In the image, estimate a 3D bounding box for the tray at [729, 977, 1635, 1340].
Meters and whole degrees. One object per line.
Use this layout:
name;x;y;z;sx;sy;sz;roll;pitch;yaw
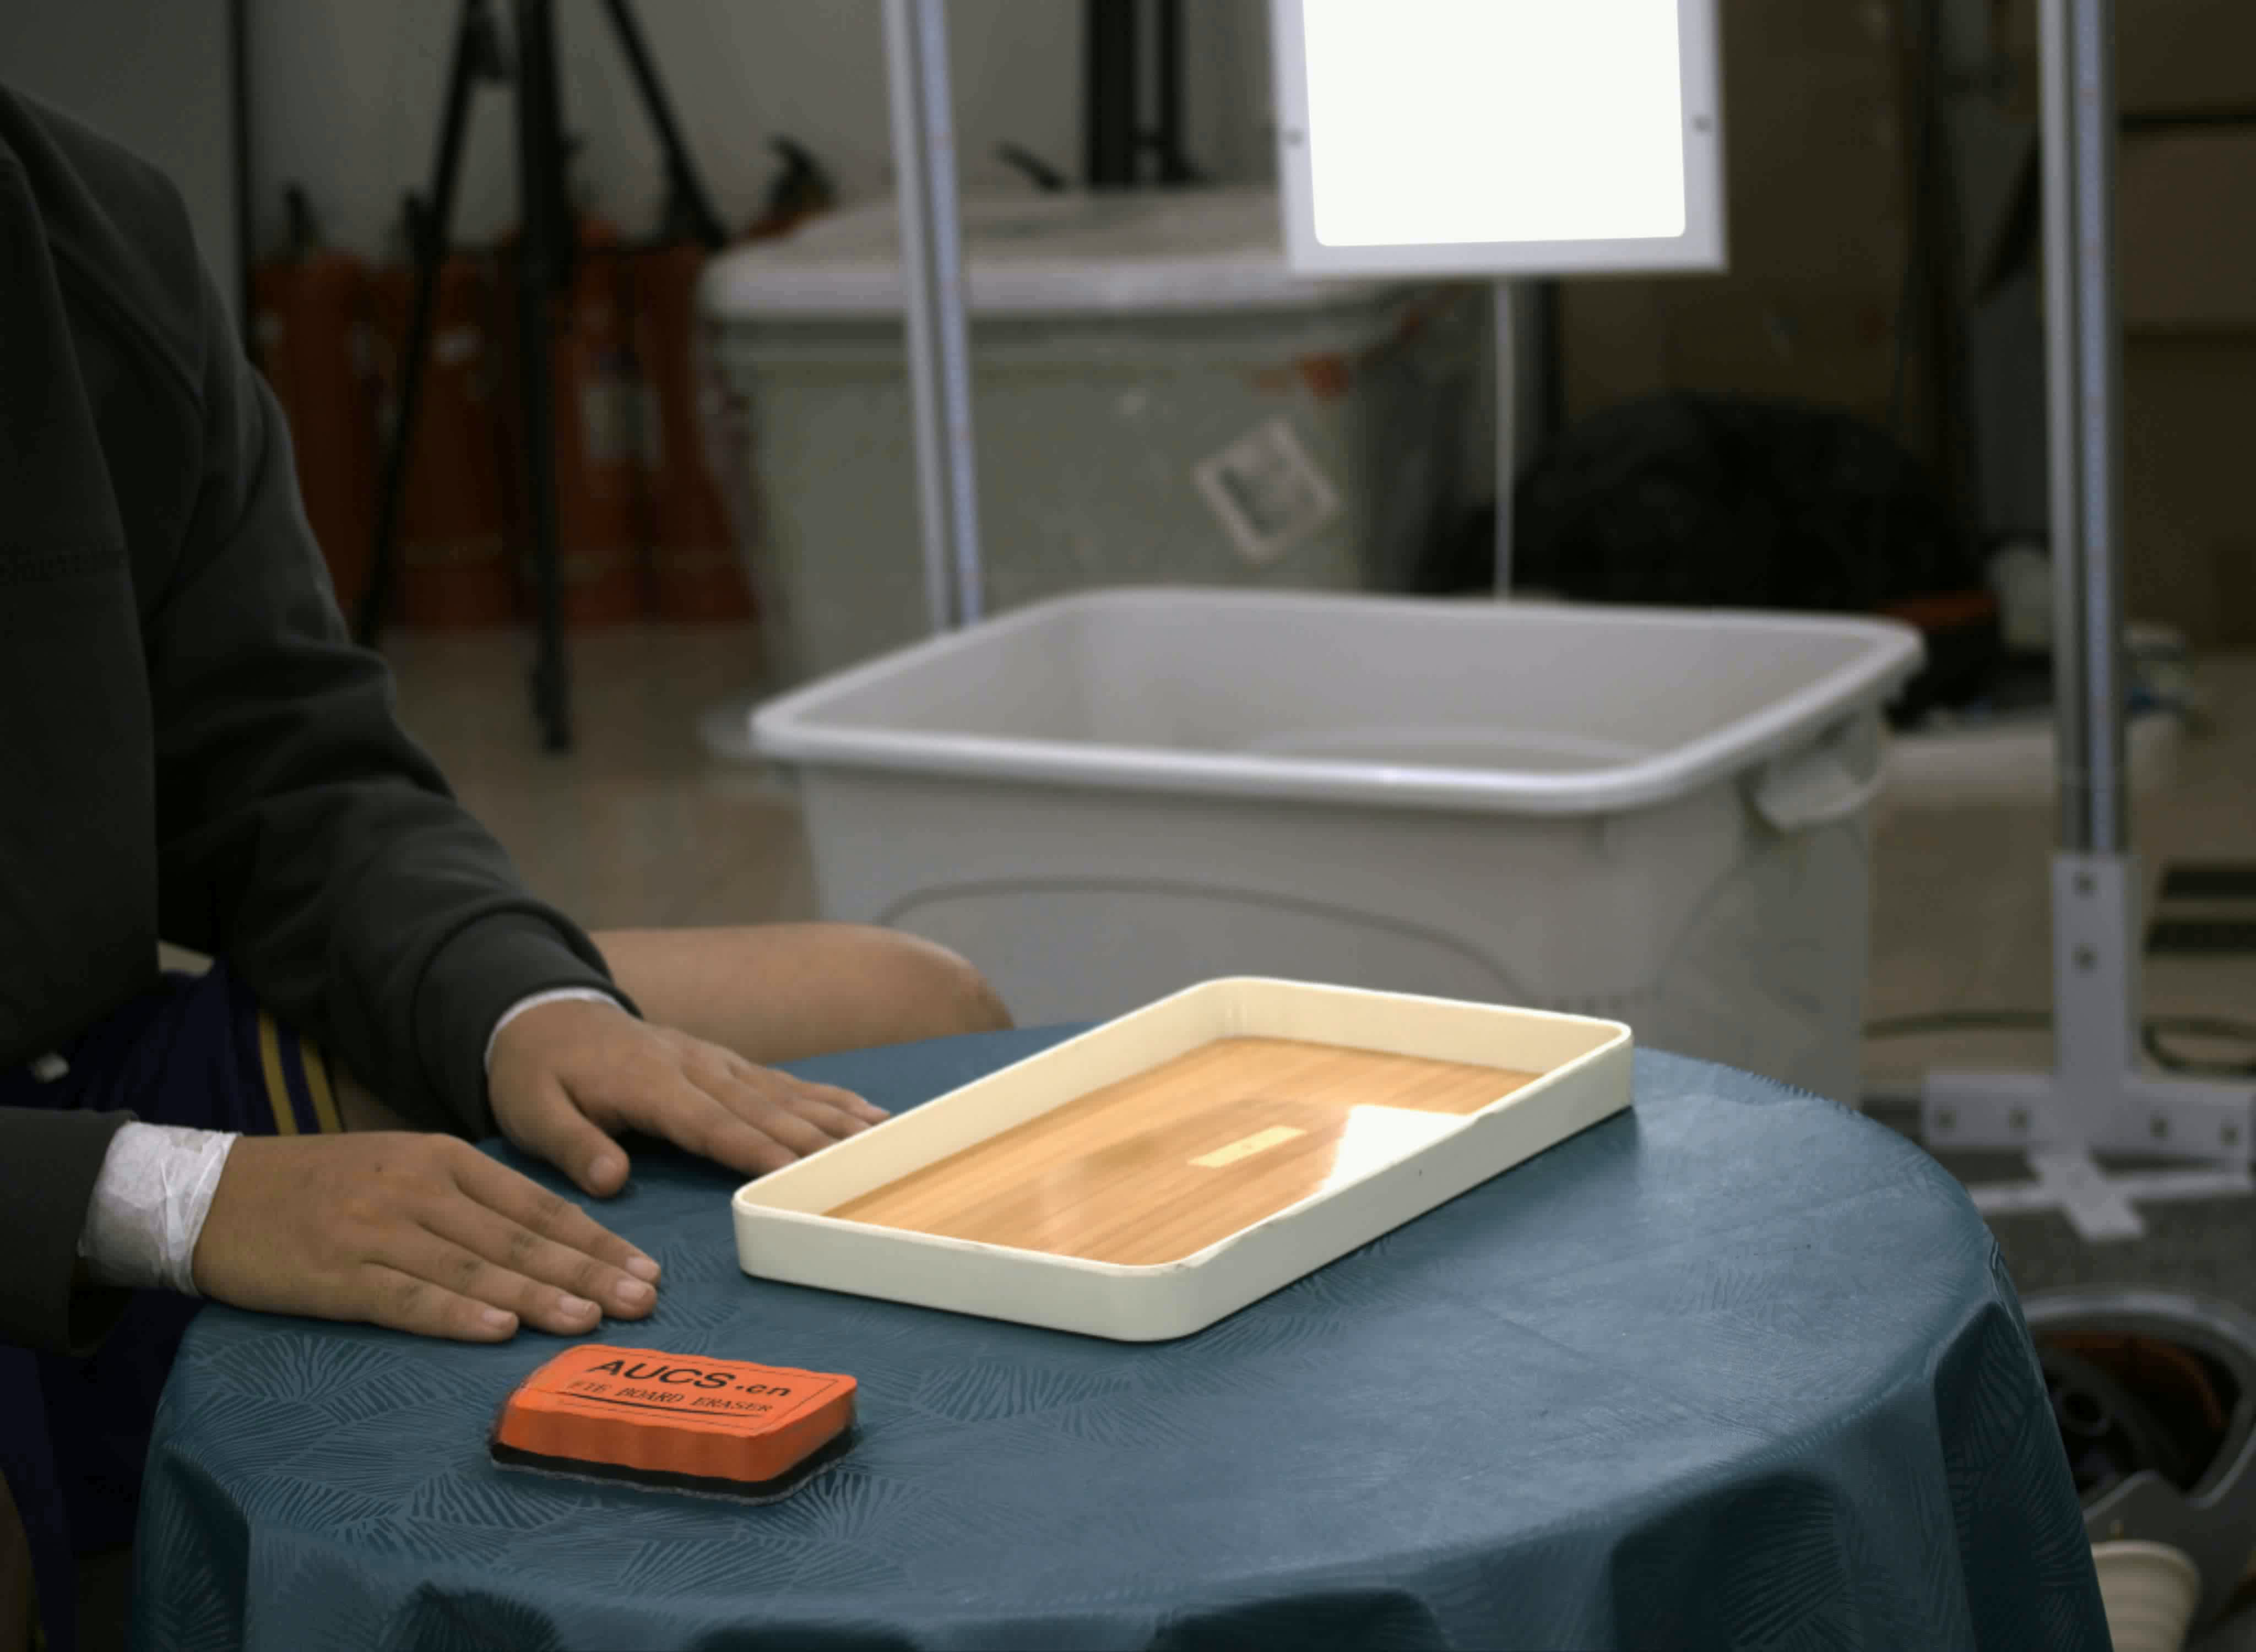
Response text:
tray;0.024;0.110;1.898;0.195;0.027;0.293;6;17;38

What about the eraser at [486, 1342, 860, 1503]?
eraser;-0.138;0.180;1.676;0.110;0.023;0.057;3;18;32
